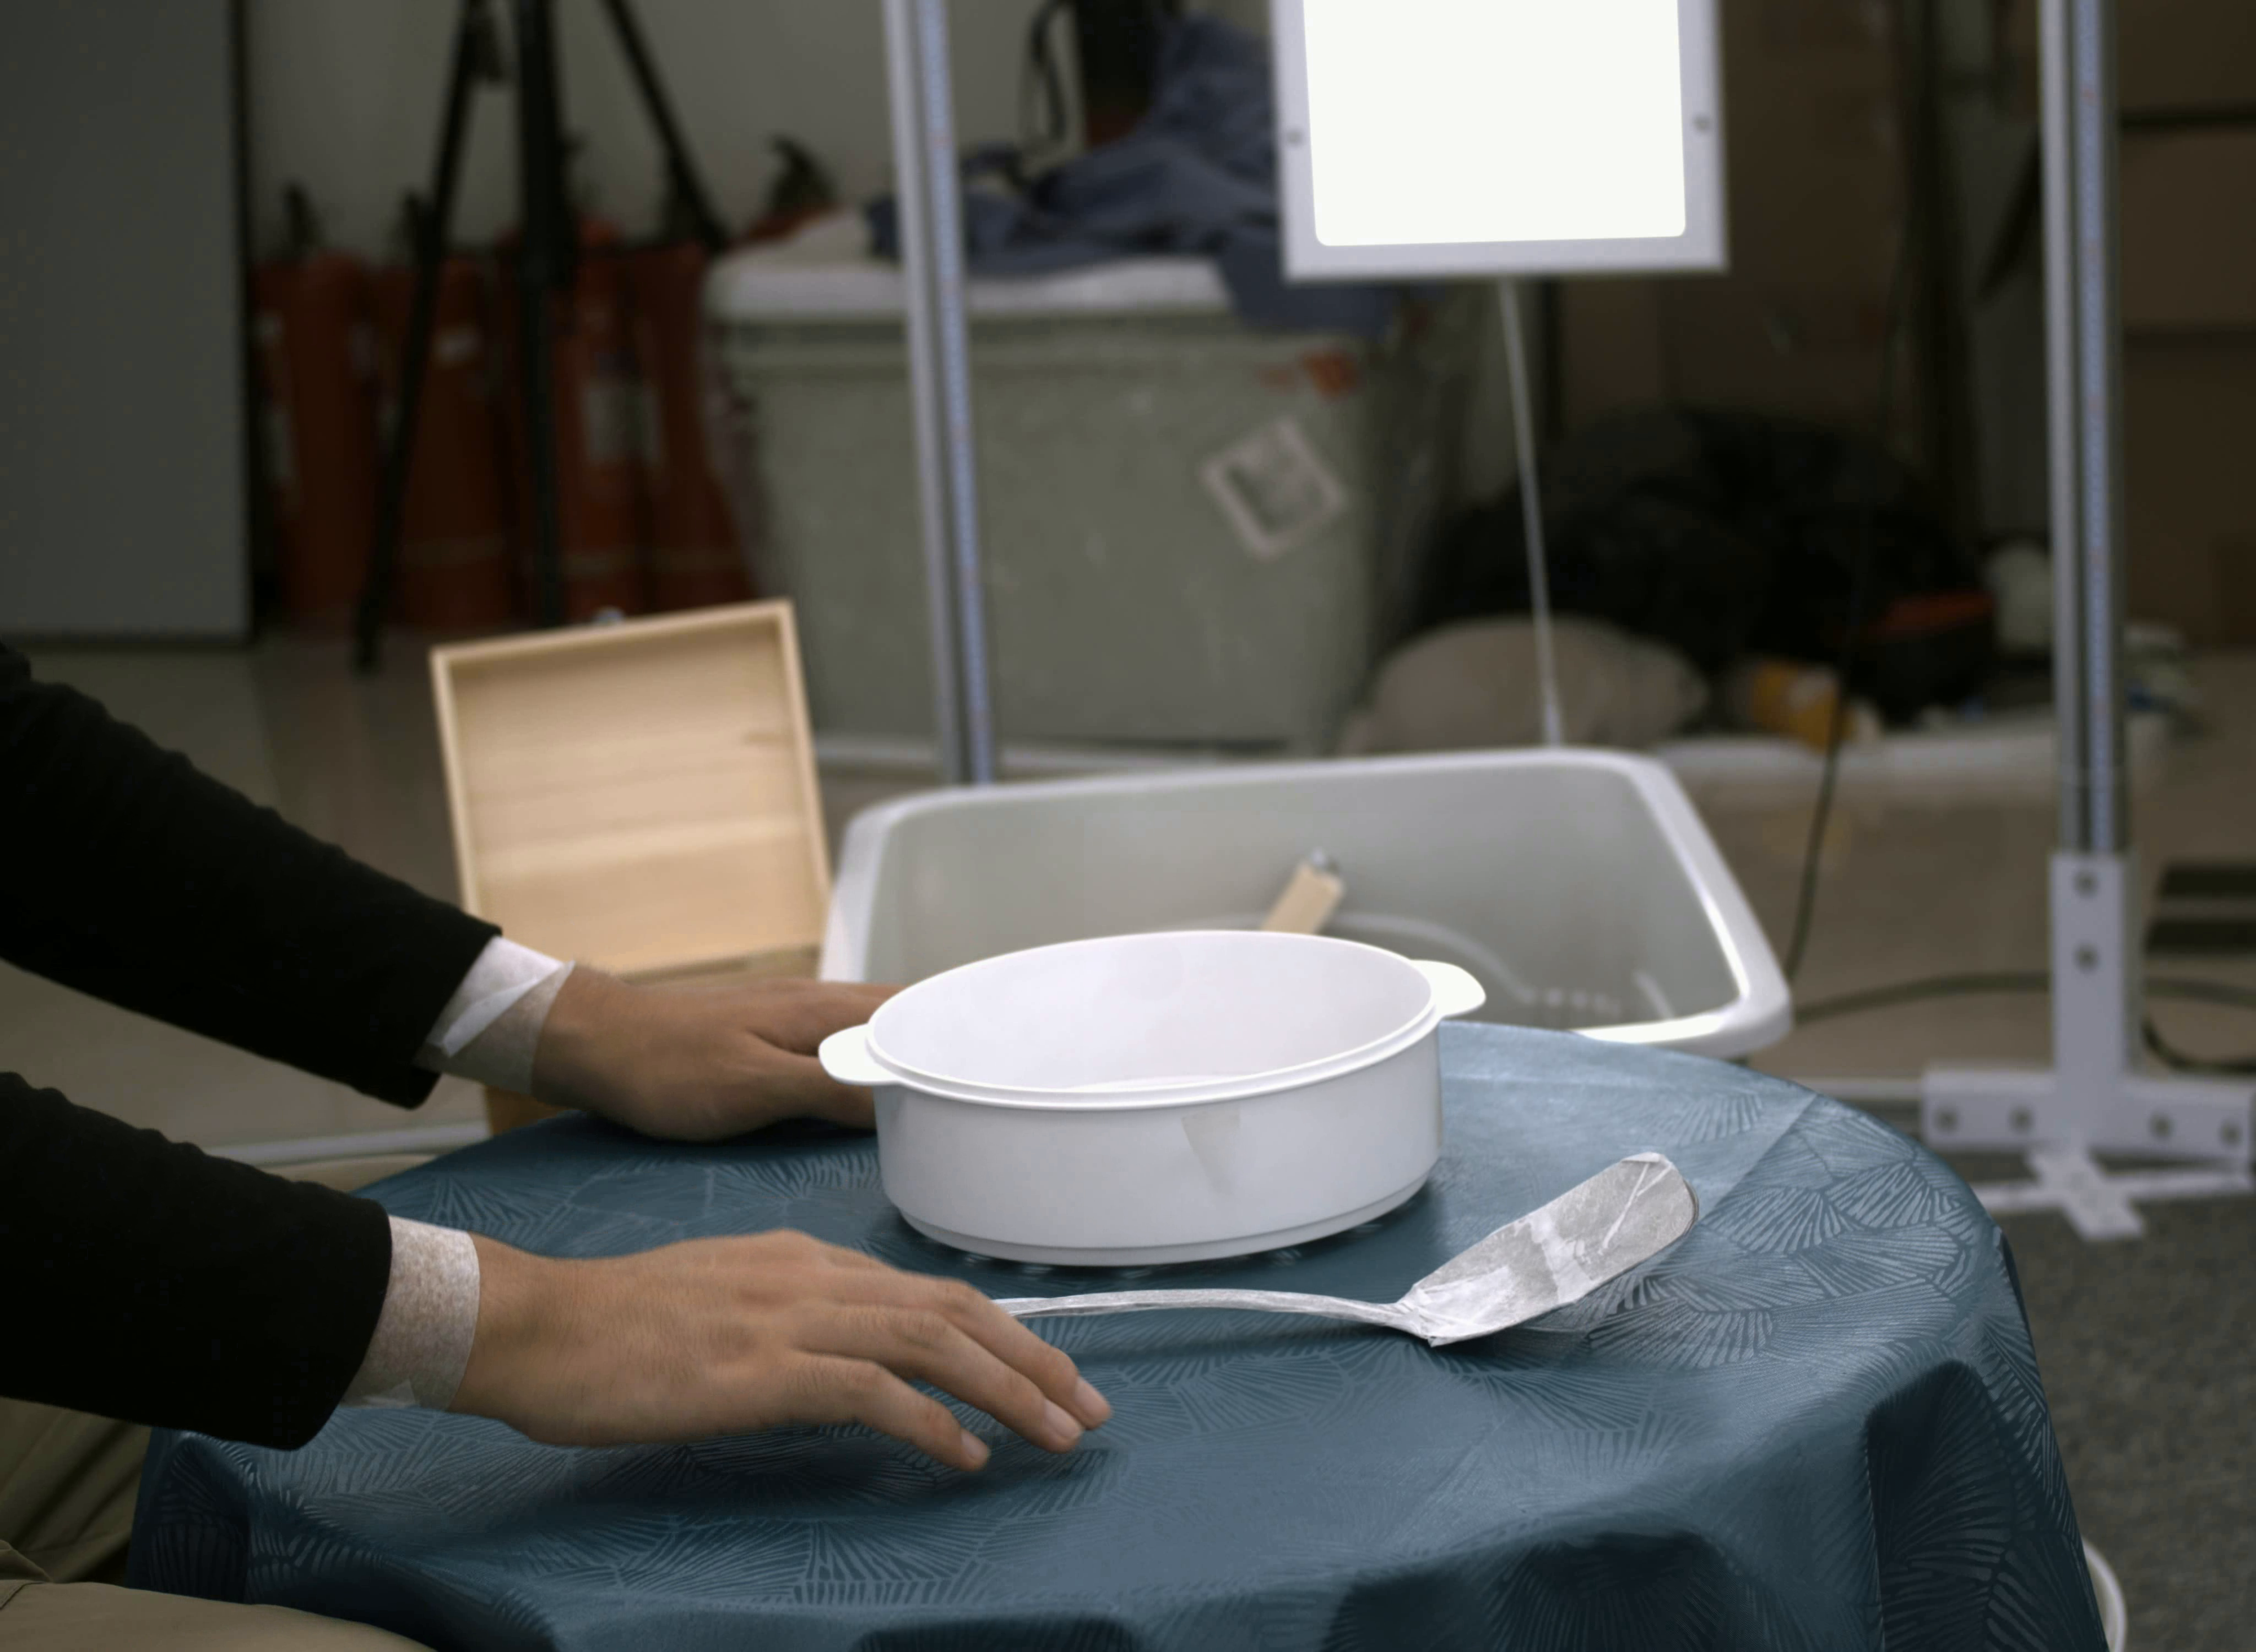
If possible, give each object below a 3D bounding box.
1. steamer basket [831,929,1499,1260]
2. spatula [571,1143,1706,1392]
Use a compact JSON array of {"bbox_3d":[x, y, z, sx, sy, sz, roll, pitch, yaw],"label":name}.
[{"bbox_3d":[0.016,0.092,1.886,0.229,0.069,0.203,-7,13,-6],"label":"steamer basket"},{"bbox_3d":[0.002,0.146,1.738,0.364,0.045,0.098,-5,15,2],"label":"spatula"}]
